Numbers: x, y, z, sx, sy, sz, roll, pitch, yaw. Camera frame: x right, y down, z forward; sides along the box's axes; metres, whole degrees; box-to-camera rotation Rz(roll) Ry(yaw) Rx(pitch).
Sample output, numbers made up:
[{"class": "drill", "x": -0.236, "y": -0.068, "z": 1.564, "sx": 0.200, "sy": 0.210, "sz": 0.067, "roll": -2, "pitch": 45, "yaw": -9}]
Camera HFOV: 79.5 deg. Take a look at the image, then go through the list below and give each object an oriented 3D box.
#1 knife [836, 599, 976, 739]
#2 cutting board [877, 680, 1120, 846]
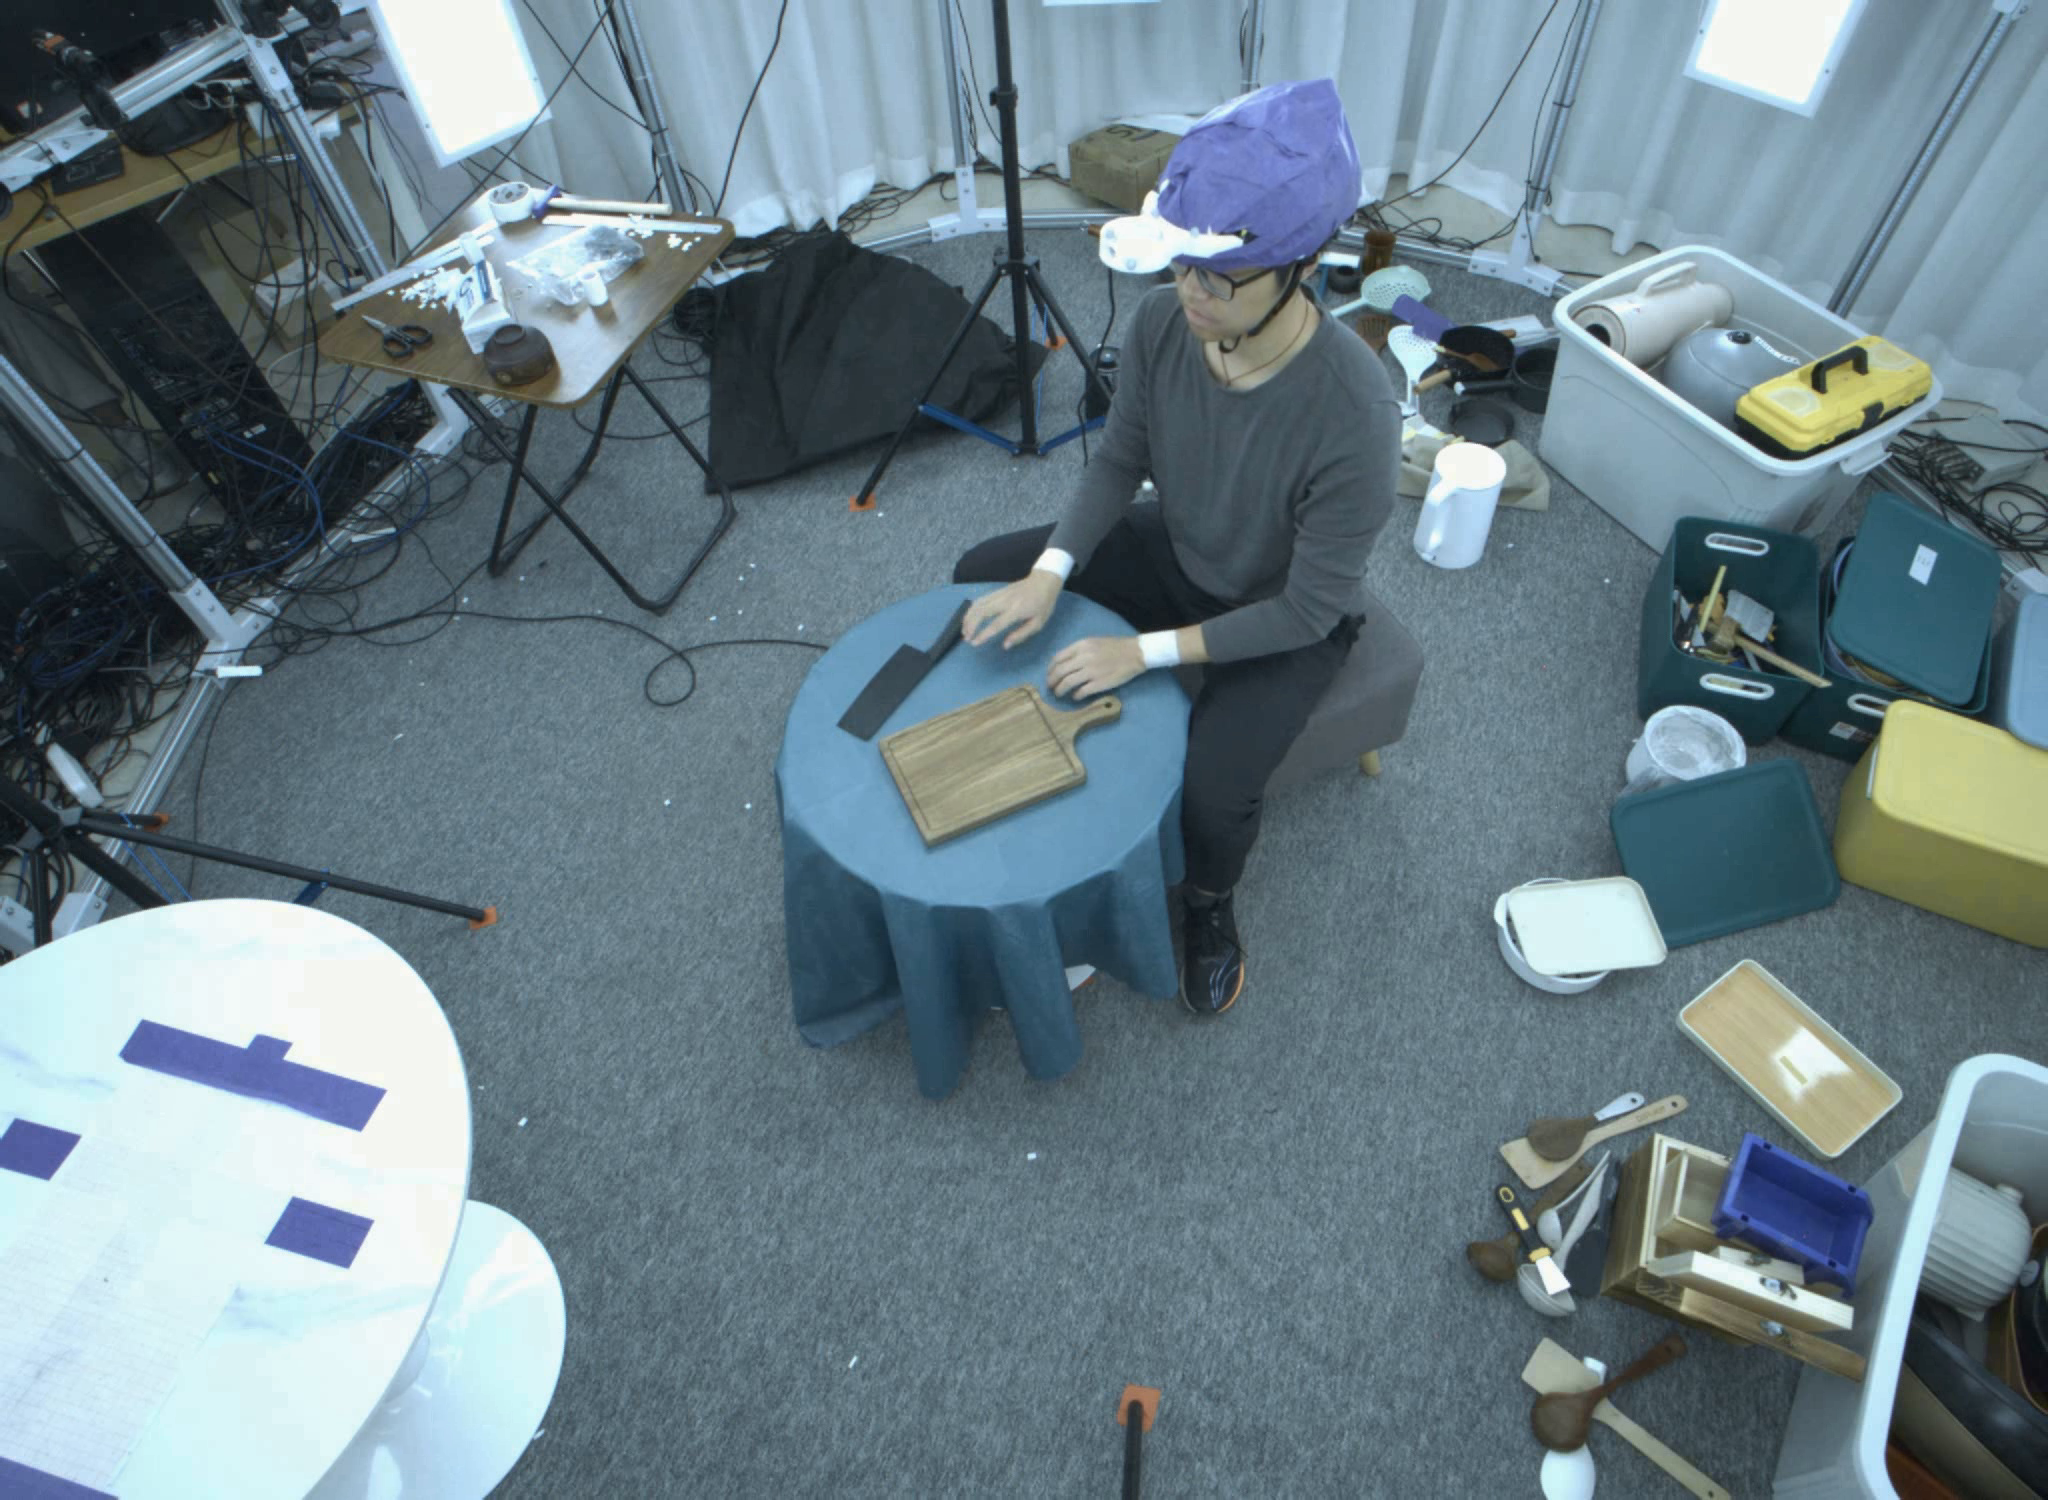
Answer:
[{"class": "knife", "x": -0.175, "y": -0.131, "z": 1.885, "sx": 0.079, "sy": 0.021, "sz": 0.304, "roll": 30, "pitch": 62, "yaw": 22}, {"class": "cutting board", "x": -0.017, "y": -0.004, "z": 1.785, "sx": 0.355, "sy": 0.023, "sz": 0.197, "roll": -22, "pitch": 57, "yaw": -14}]
